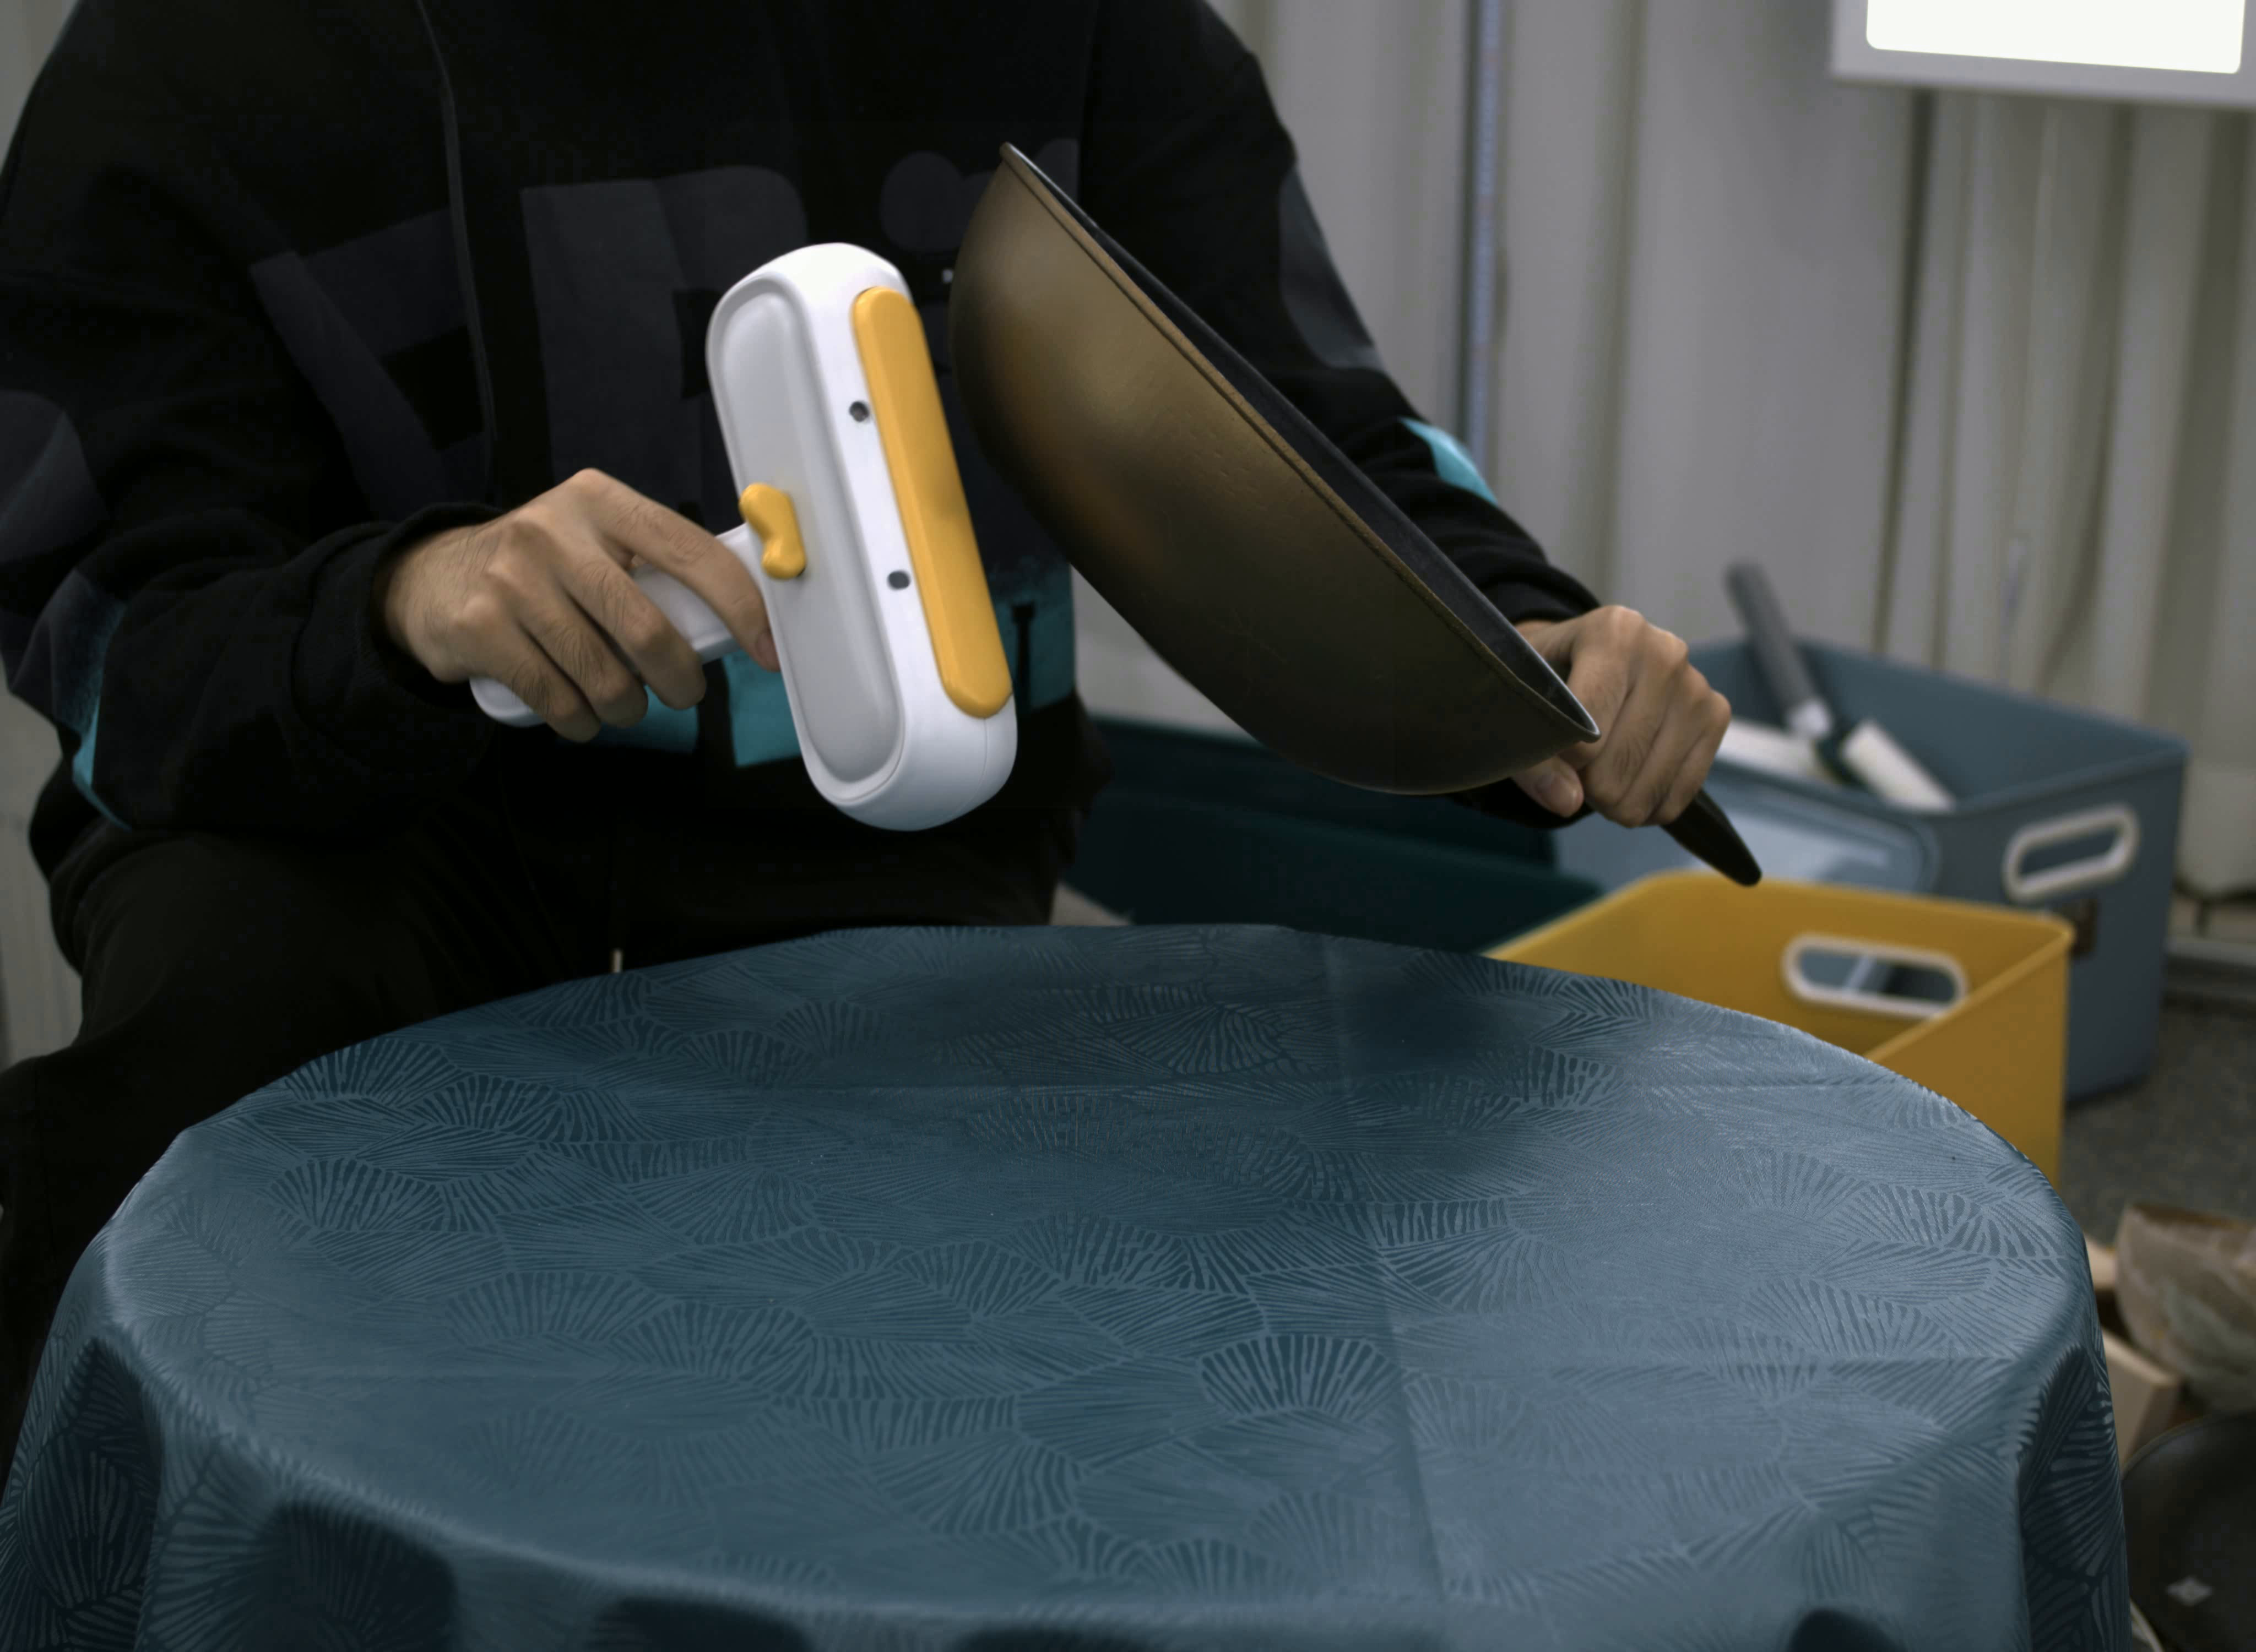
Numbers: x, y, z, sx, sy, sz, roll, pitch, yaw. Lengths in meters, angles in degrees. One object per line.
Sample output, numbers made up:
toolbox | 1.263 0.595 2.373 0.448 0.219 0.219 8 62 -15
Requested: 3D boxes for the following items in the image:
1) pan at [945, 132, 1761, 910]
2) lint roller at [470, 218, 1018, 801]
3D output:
pan | 0.080 -0.062 1.824 0.470 0.087 0.284 40 8 -46
lint roller | -0.133 -0.080 1.718 0.191 0.192 0.074 -27 -13 35
